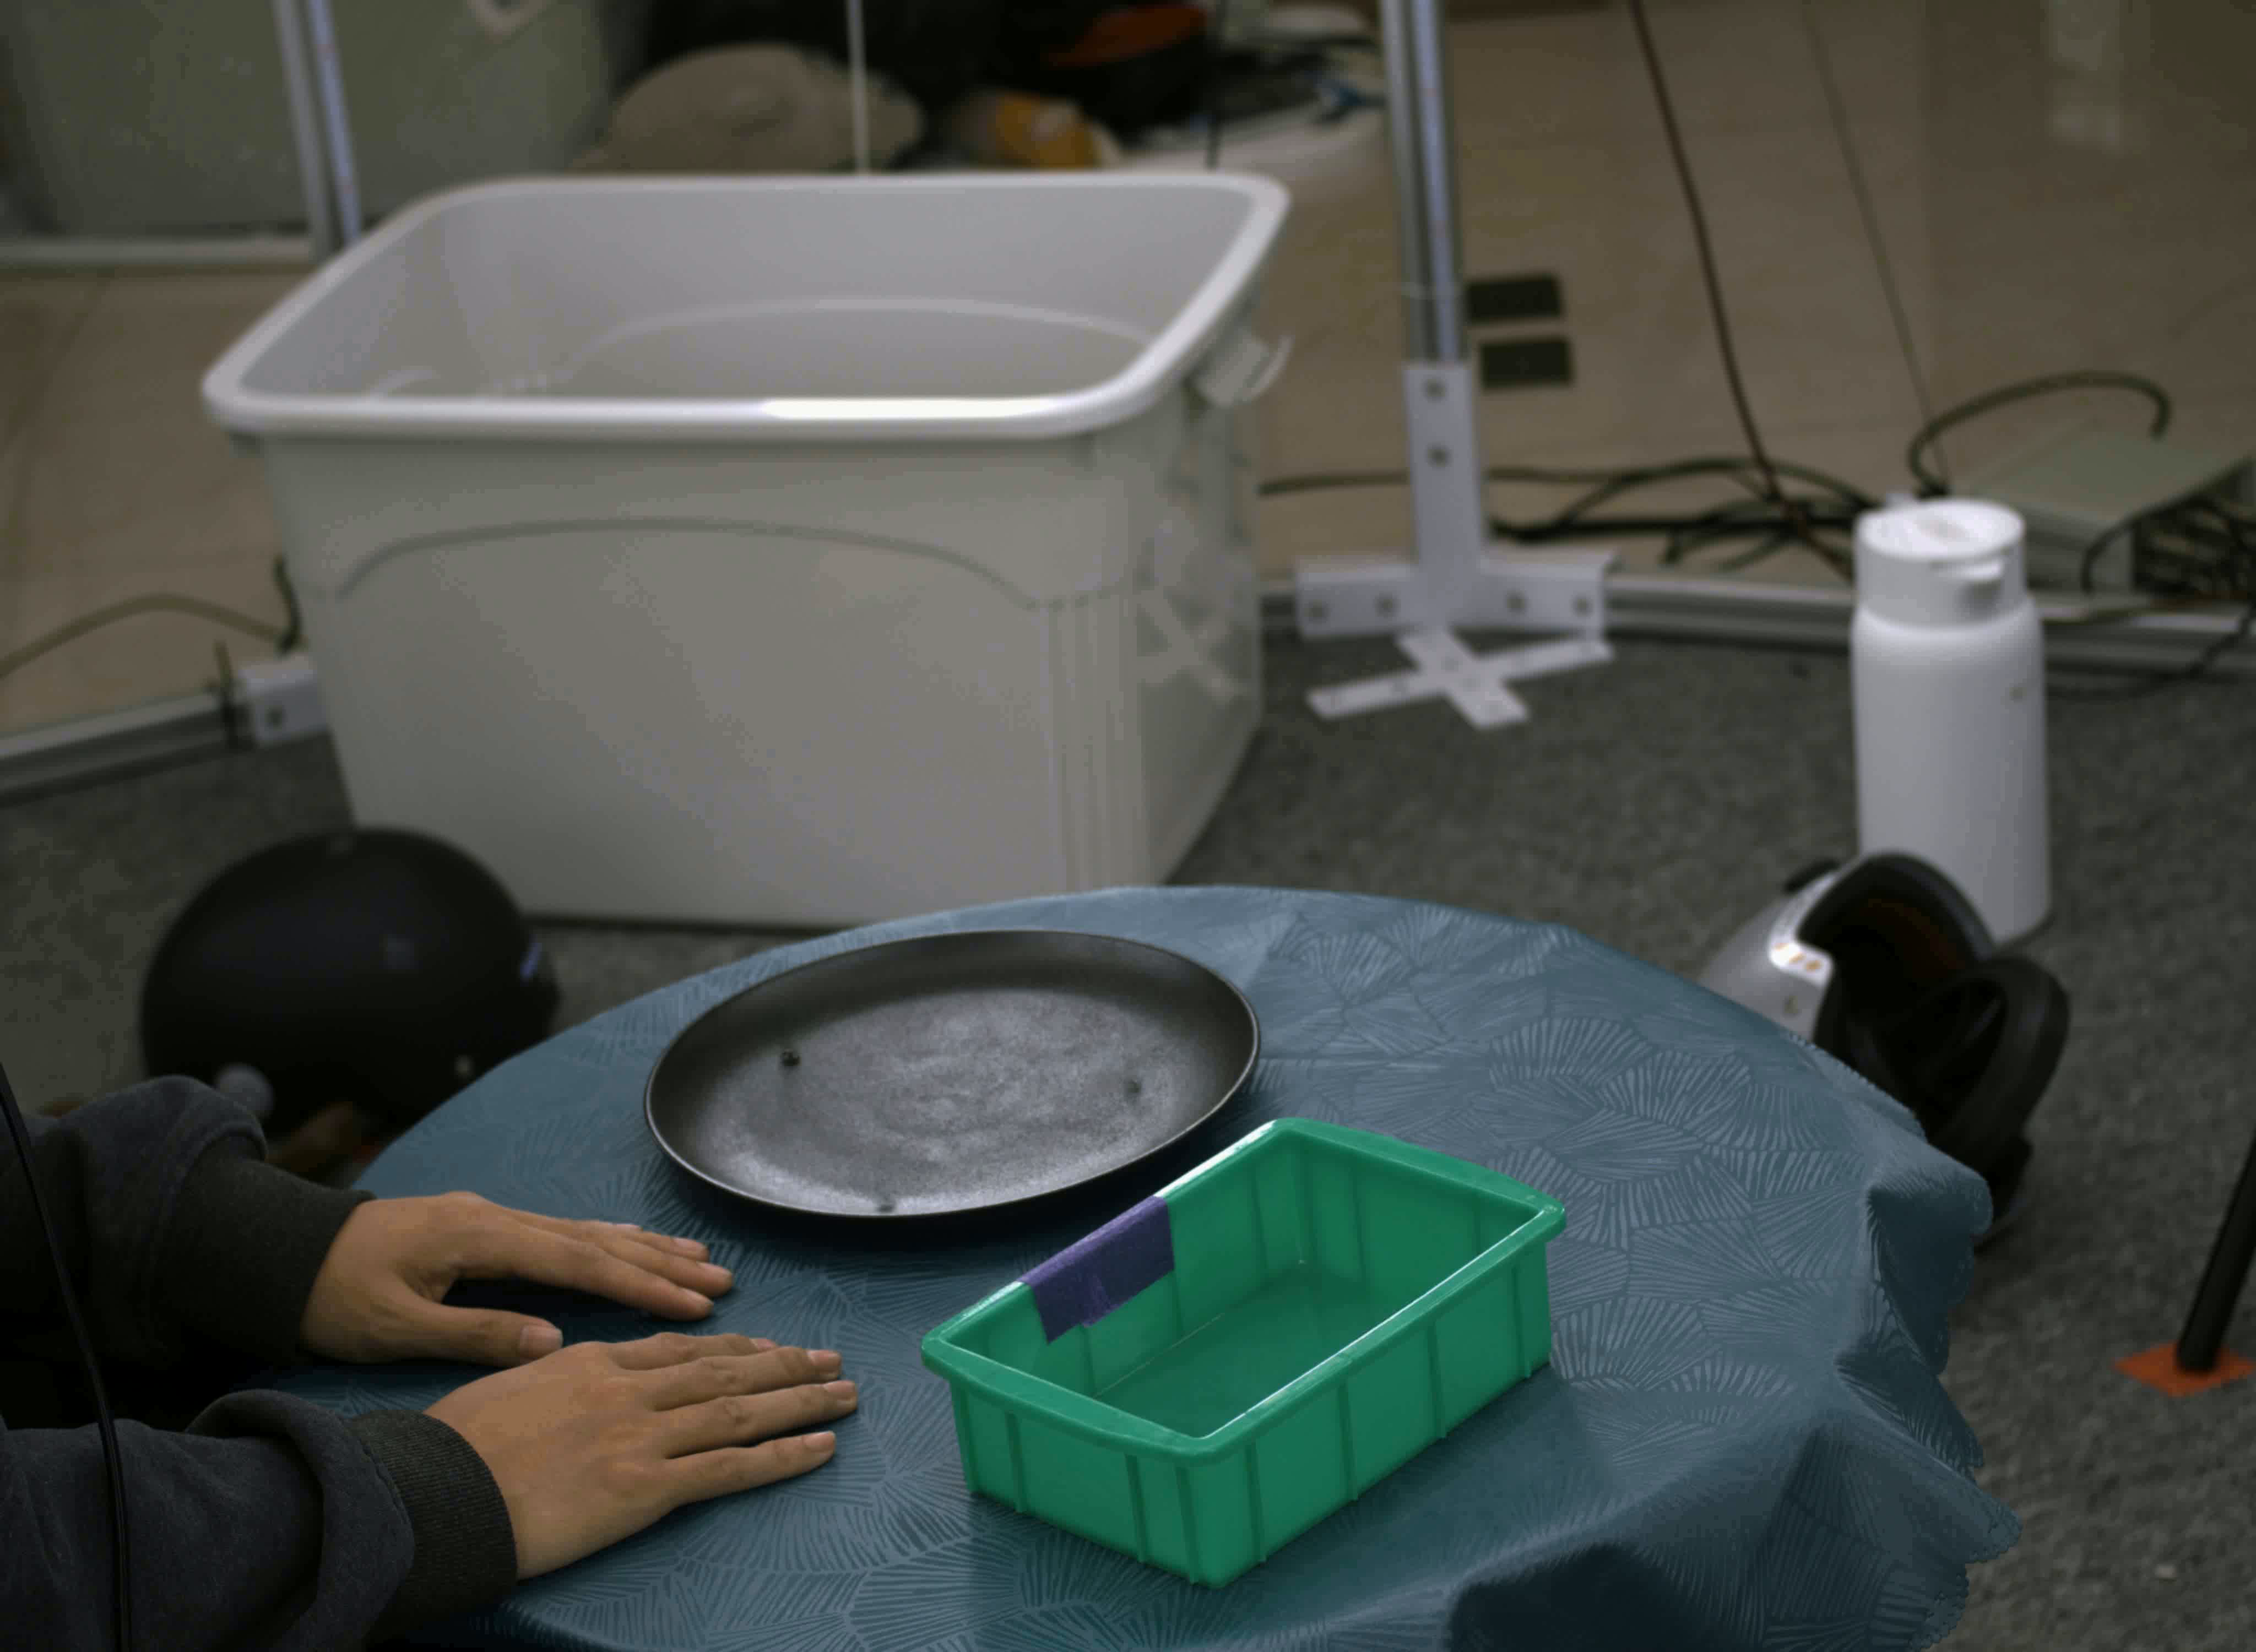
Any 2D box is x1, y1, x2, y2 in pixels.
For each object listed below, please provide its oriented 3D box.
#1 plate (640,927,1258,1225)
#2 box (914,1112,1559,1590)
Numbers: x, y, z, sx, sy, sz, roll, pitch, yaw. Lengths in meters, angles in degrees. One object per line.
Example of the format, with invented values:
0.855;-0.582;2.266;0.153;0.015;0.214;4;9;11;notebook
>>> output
-0.069;0.102;2.216;0.244;0.024;0.241;-5;25;3;plate
0.042;0.182;1.968;0.138;0.066;0.208;14;34;40;box
